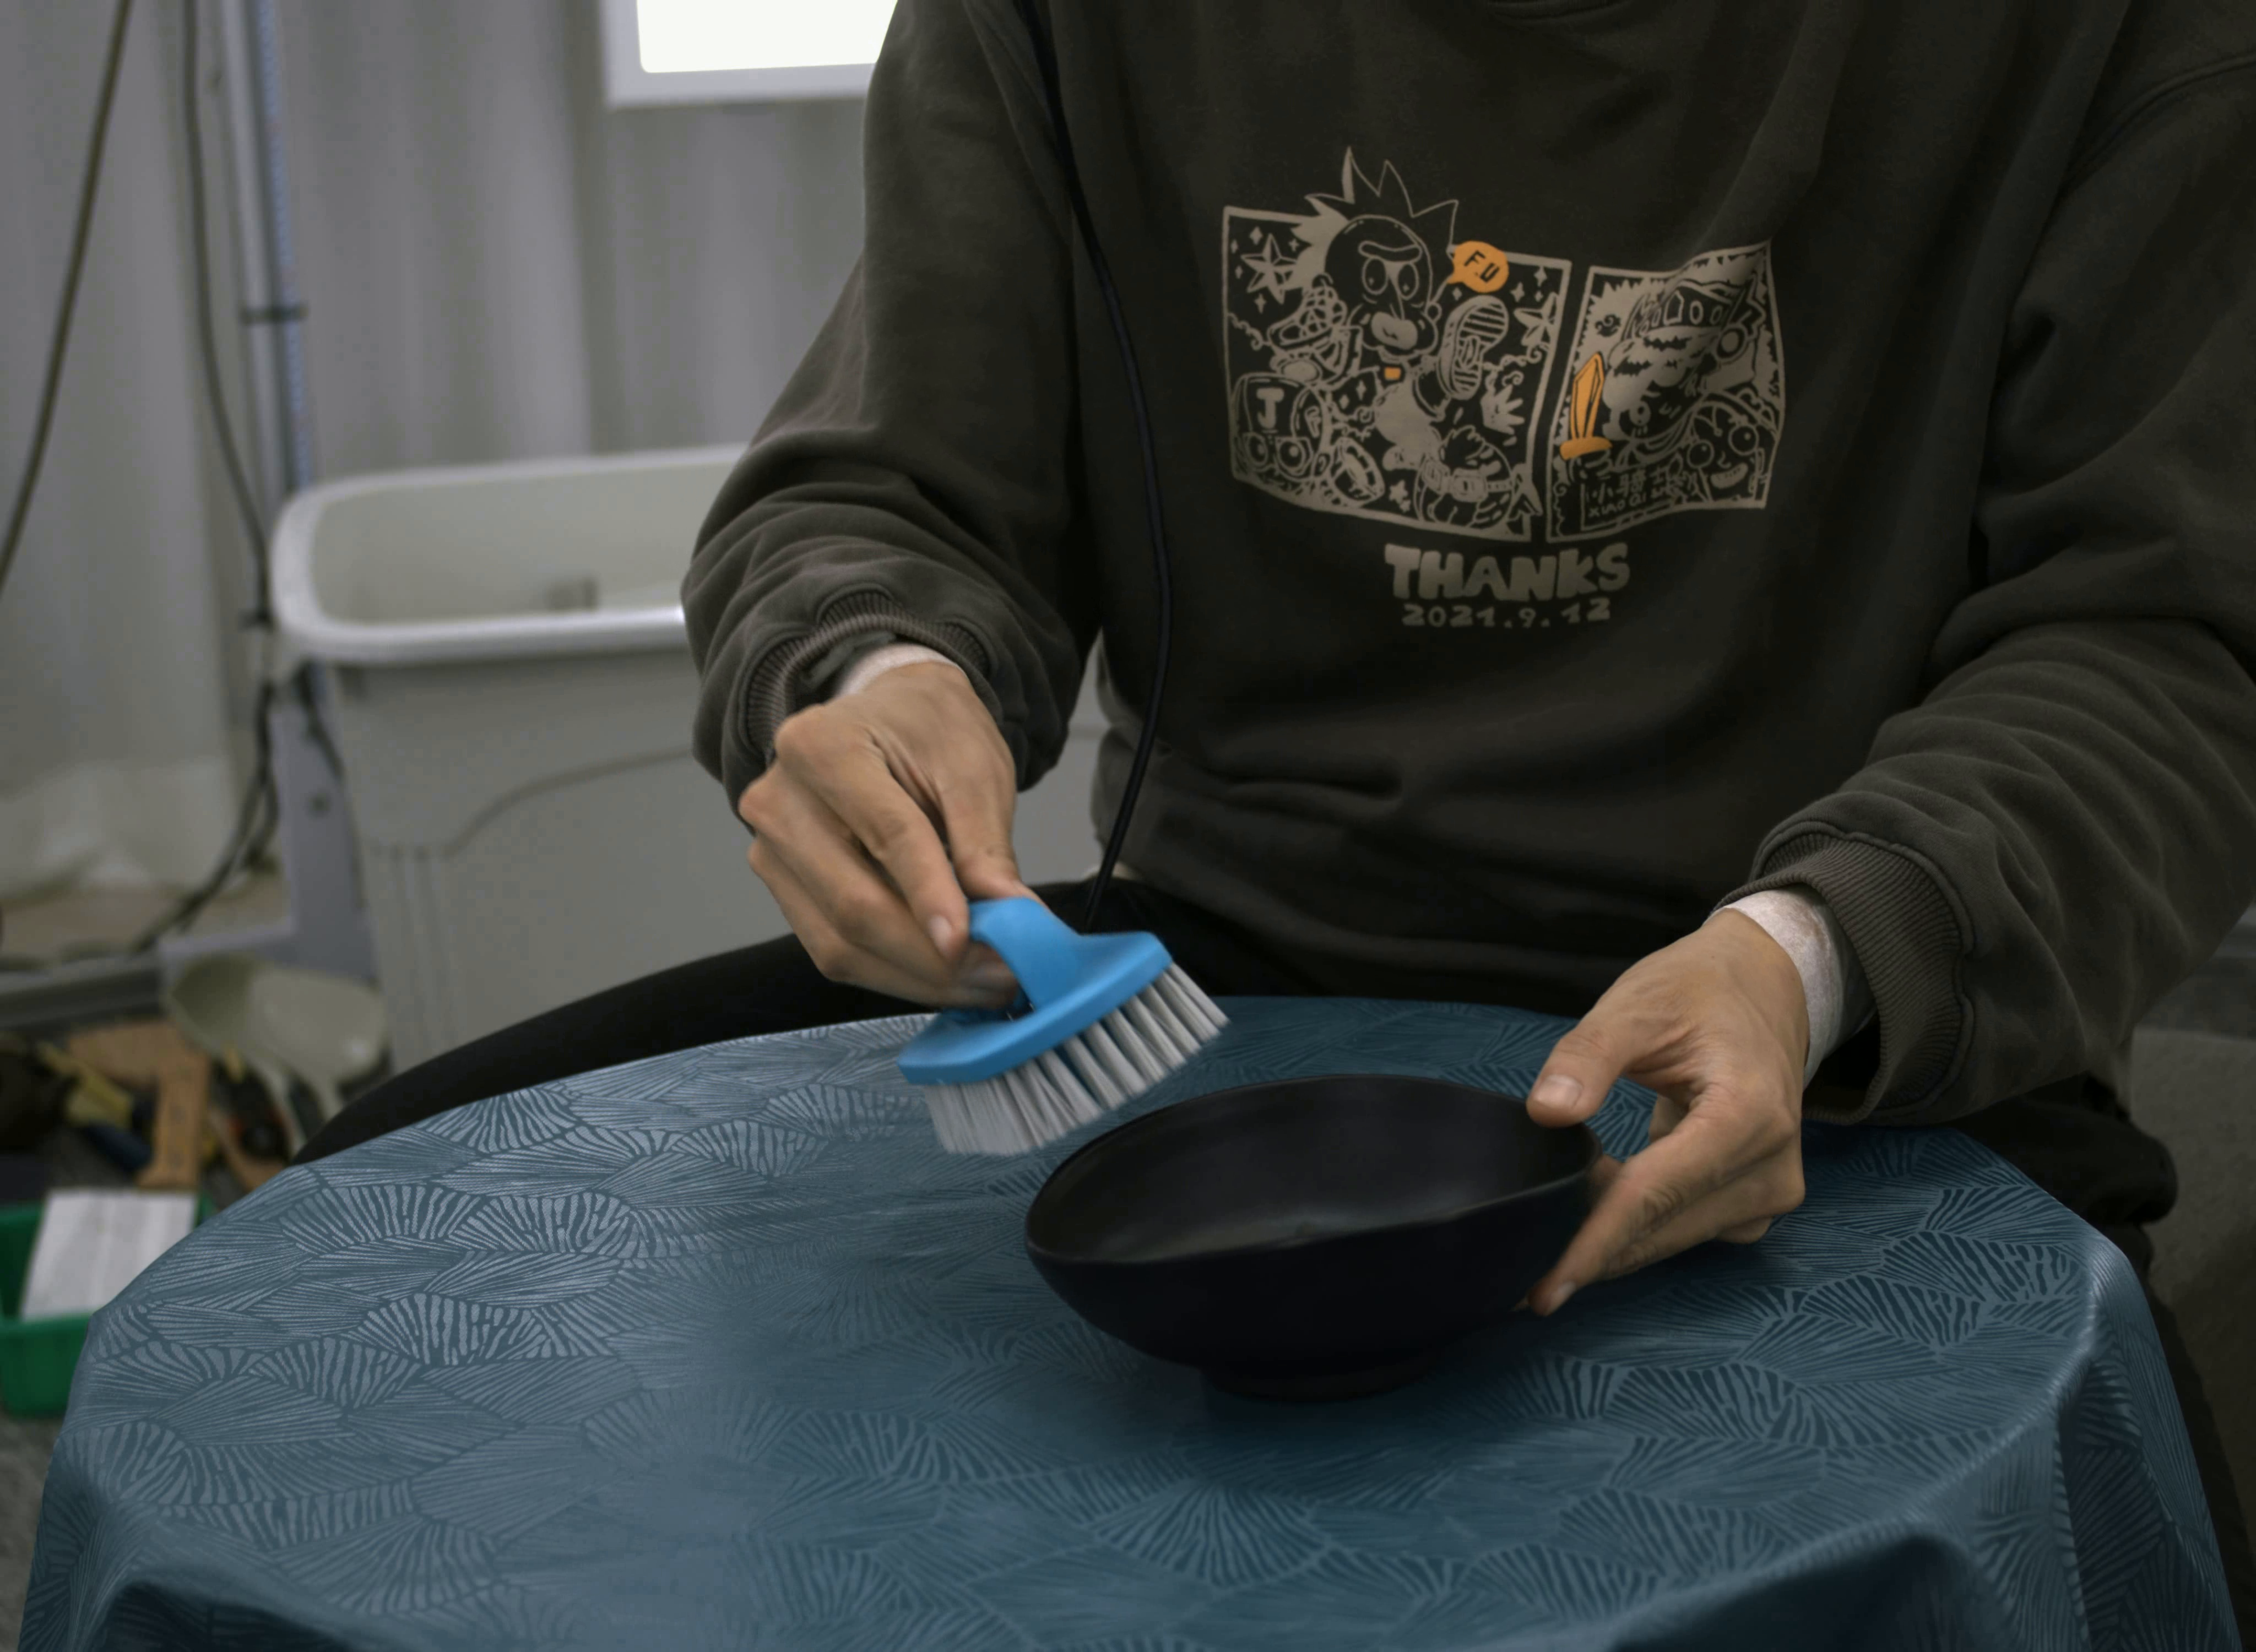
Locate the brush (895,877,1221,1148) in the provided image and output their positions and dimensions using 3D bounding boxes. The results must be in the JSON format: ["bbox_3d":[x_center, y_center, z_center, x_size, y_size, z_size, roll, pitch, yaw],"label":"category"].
[{"bbox_3d":[-0.031,0.046,1.626,0.084,0.063,0.142,-37,7,-13],"label":"brush"}]

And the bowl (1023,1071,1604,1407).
[{"bbox_3d":[0.056,0.124,1.557,0.169,0.066,0.138,-10,15,-18],"label":"bowl"}]
